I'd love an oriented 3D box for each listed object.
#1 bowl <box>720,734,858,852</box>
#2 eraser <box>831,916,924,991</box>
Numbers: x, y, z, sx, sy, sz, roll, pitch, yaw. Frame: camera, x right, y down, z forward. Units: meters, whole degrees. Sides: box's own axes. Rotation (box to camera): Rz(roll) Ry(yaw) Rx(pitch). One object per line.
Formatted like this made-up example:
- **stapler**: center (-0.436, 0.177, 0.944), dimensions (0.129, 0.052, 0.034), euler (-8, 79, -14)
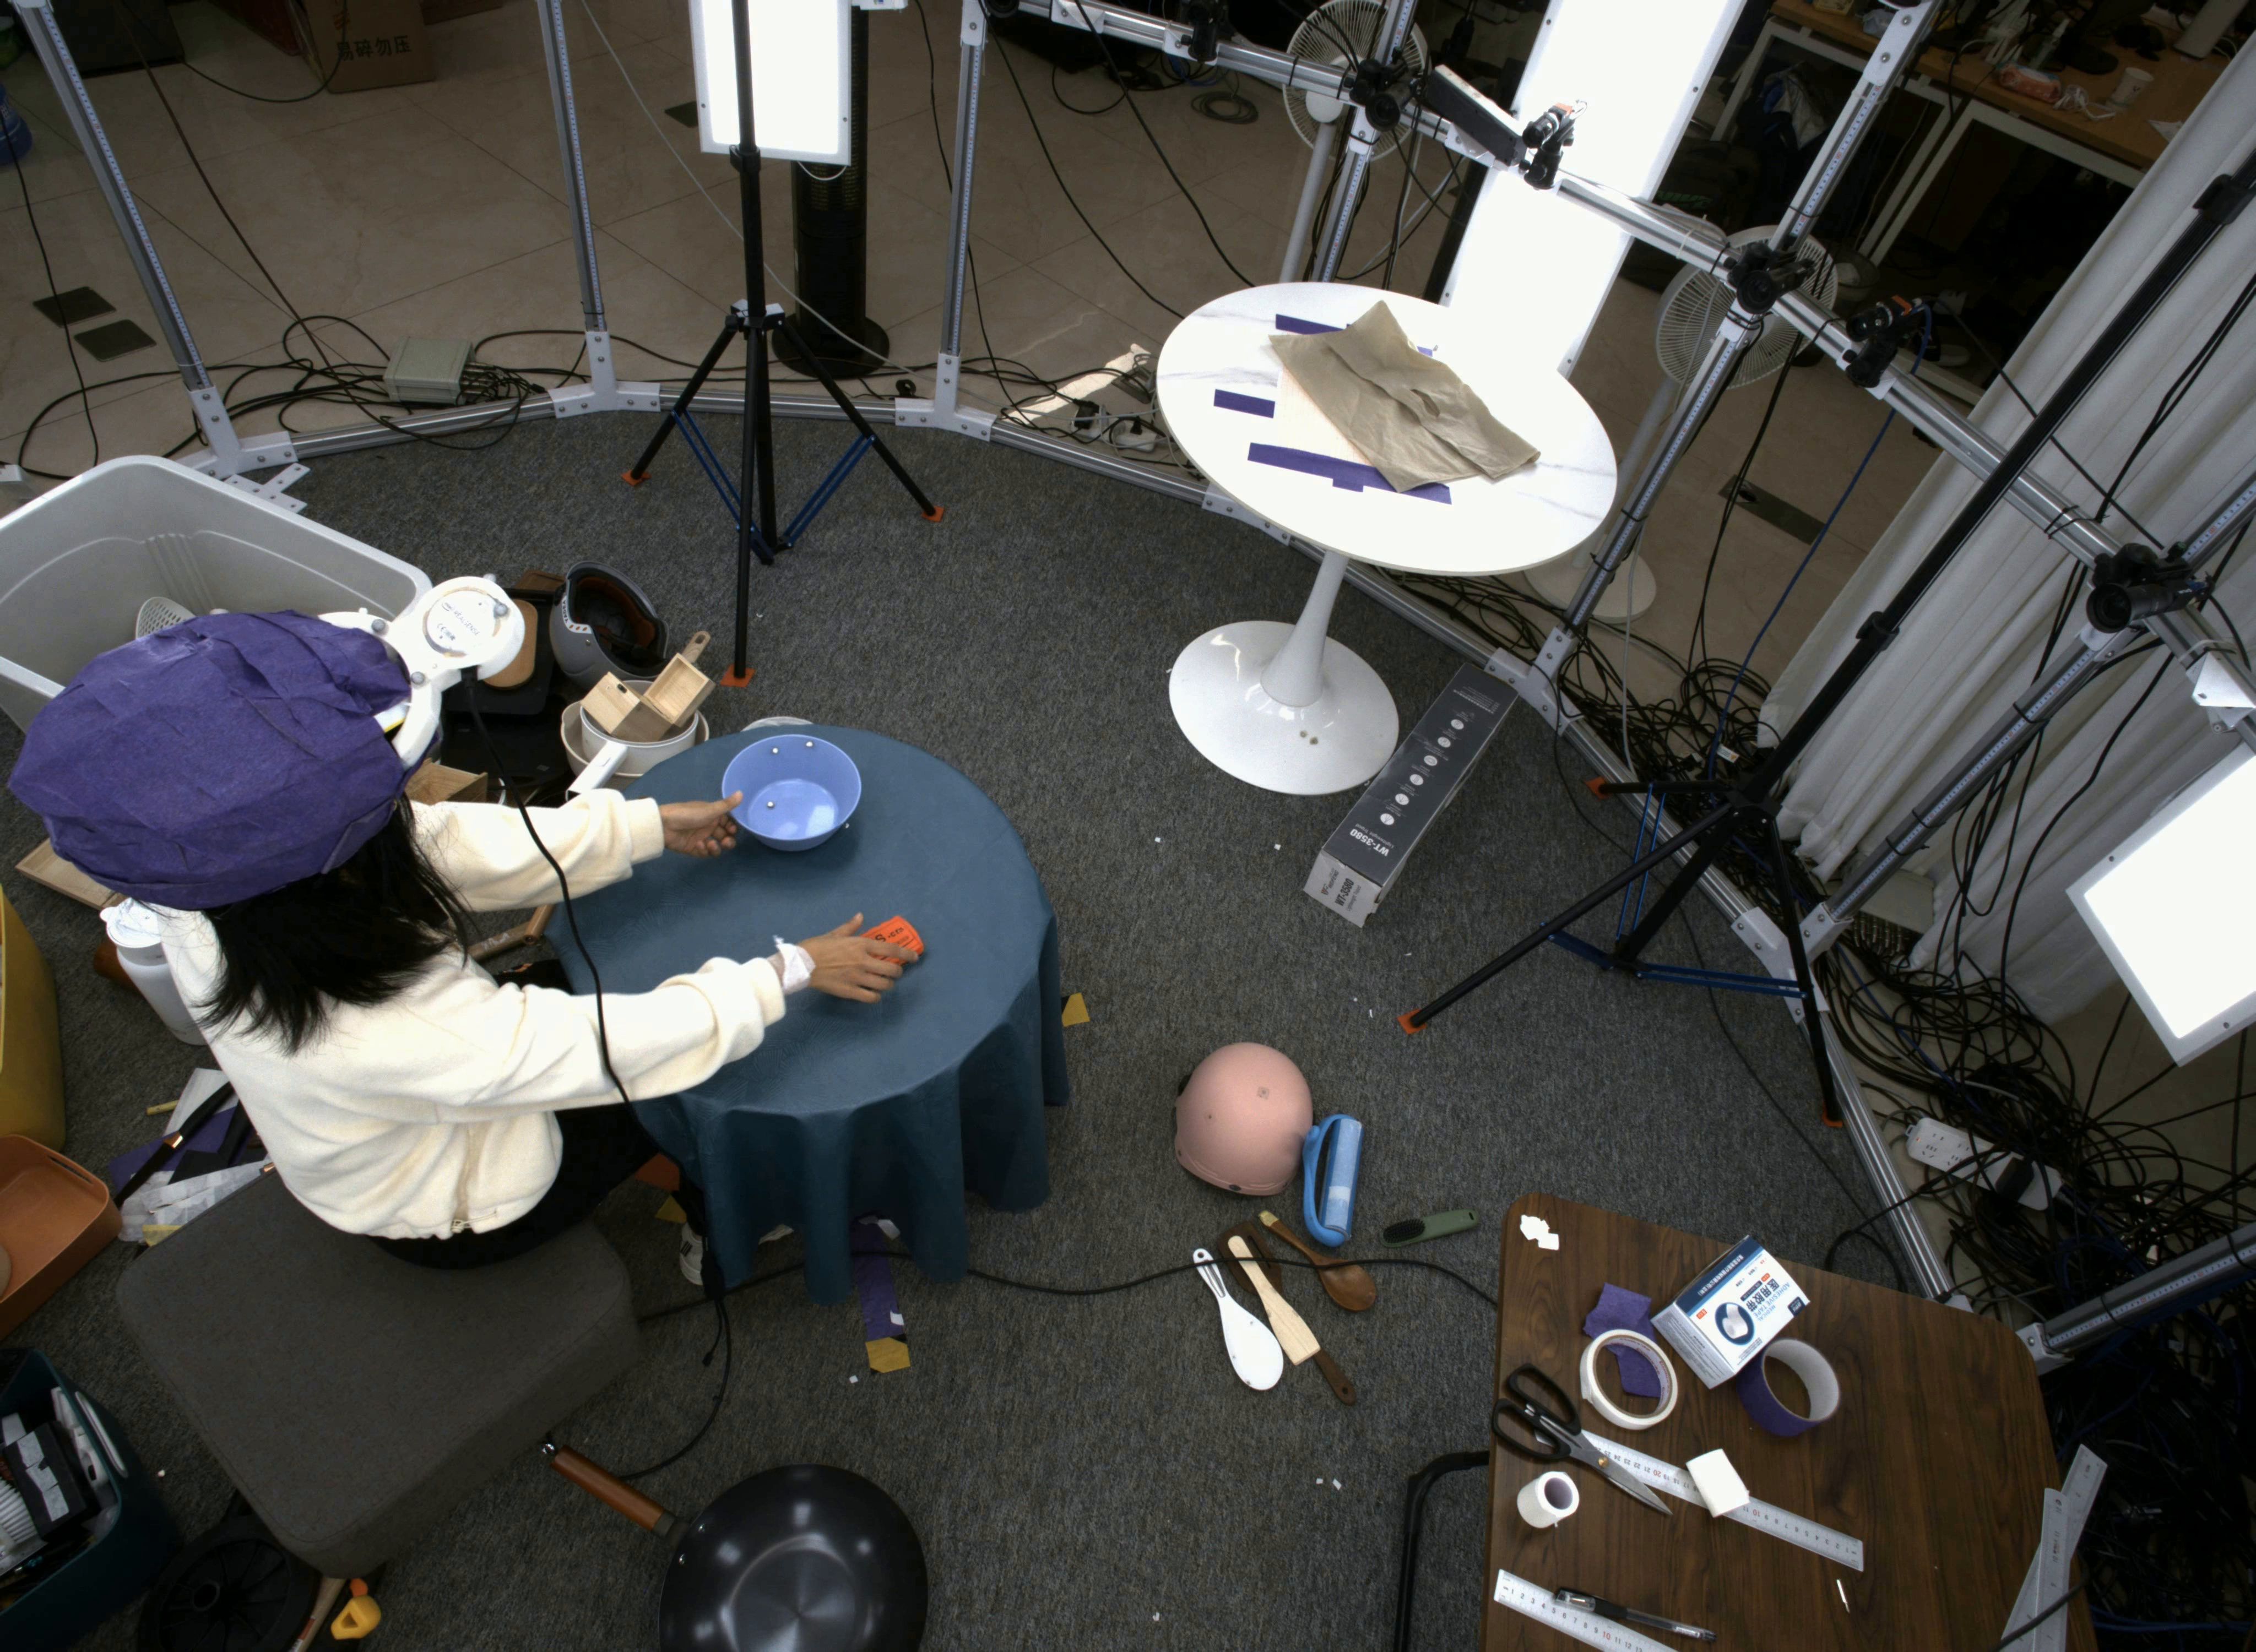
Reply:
- **bowl**: center (-0.442, -0.033, 1.693), dimensions (0.176, 0.072, 0.173), euler (8, 52, -9)
- **eraser**: center (-0.312, 0.156, 1.617), dimensions (0.108, 0.023, 0.058), euler (-28, 67, -30)
